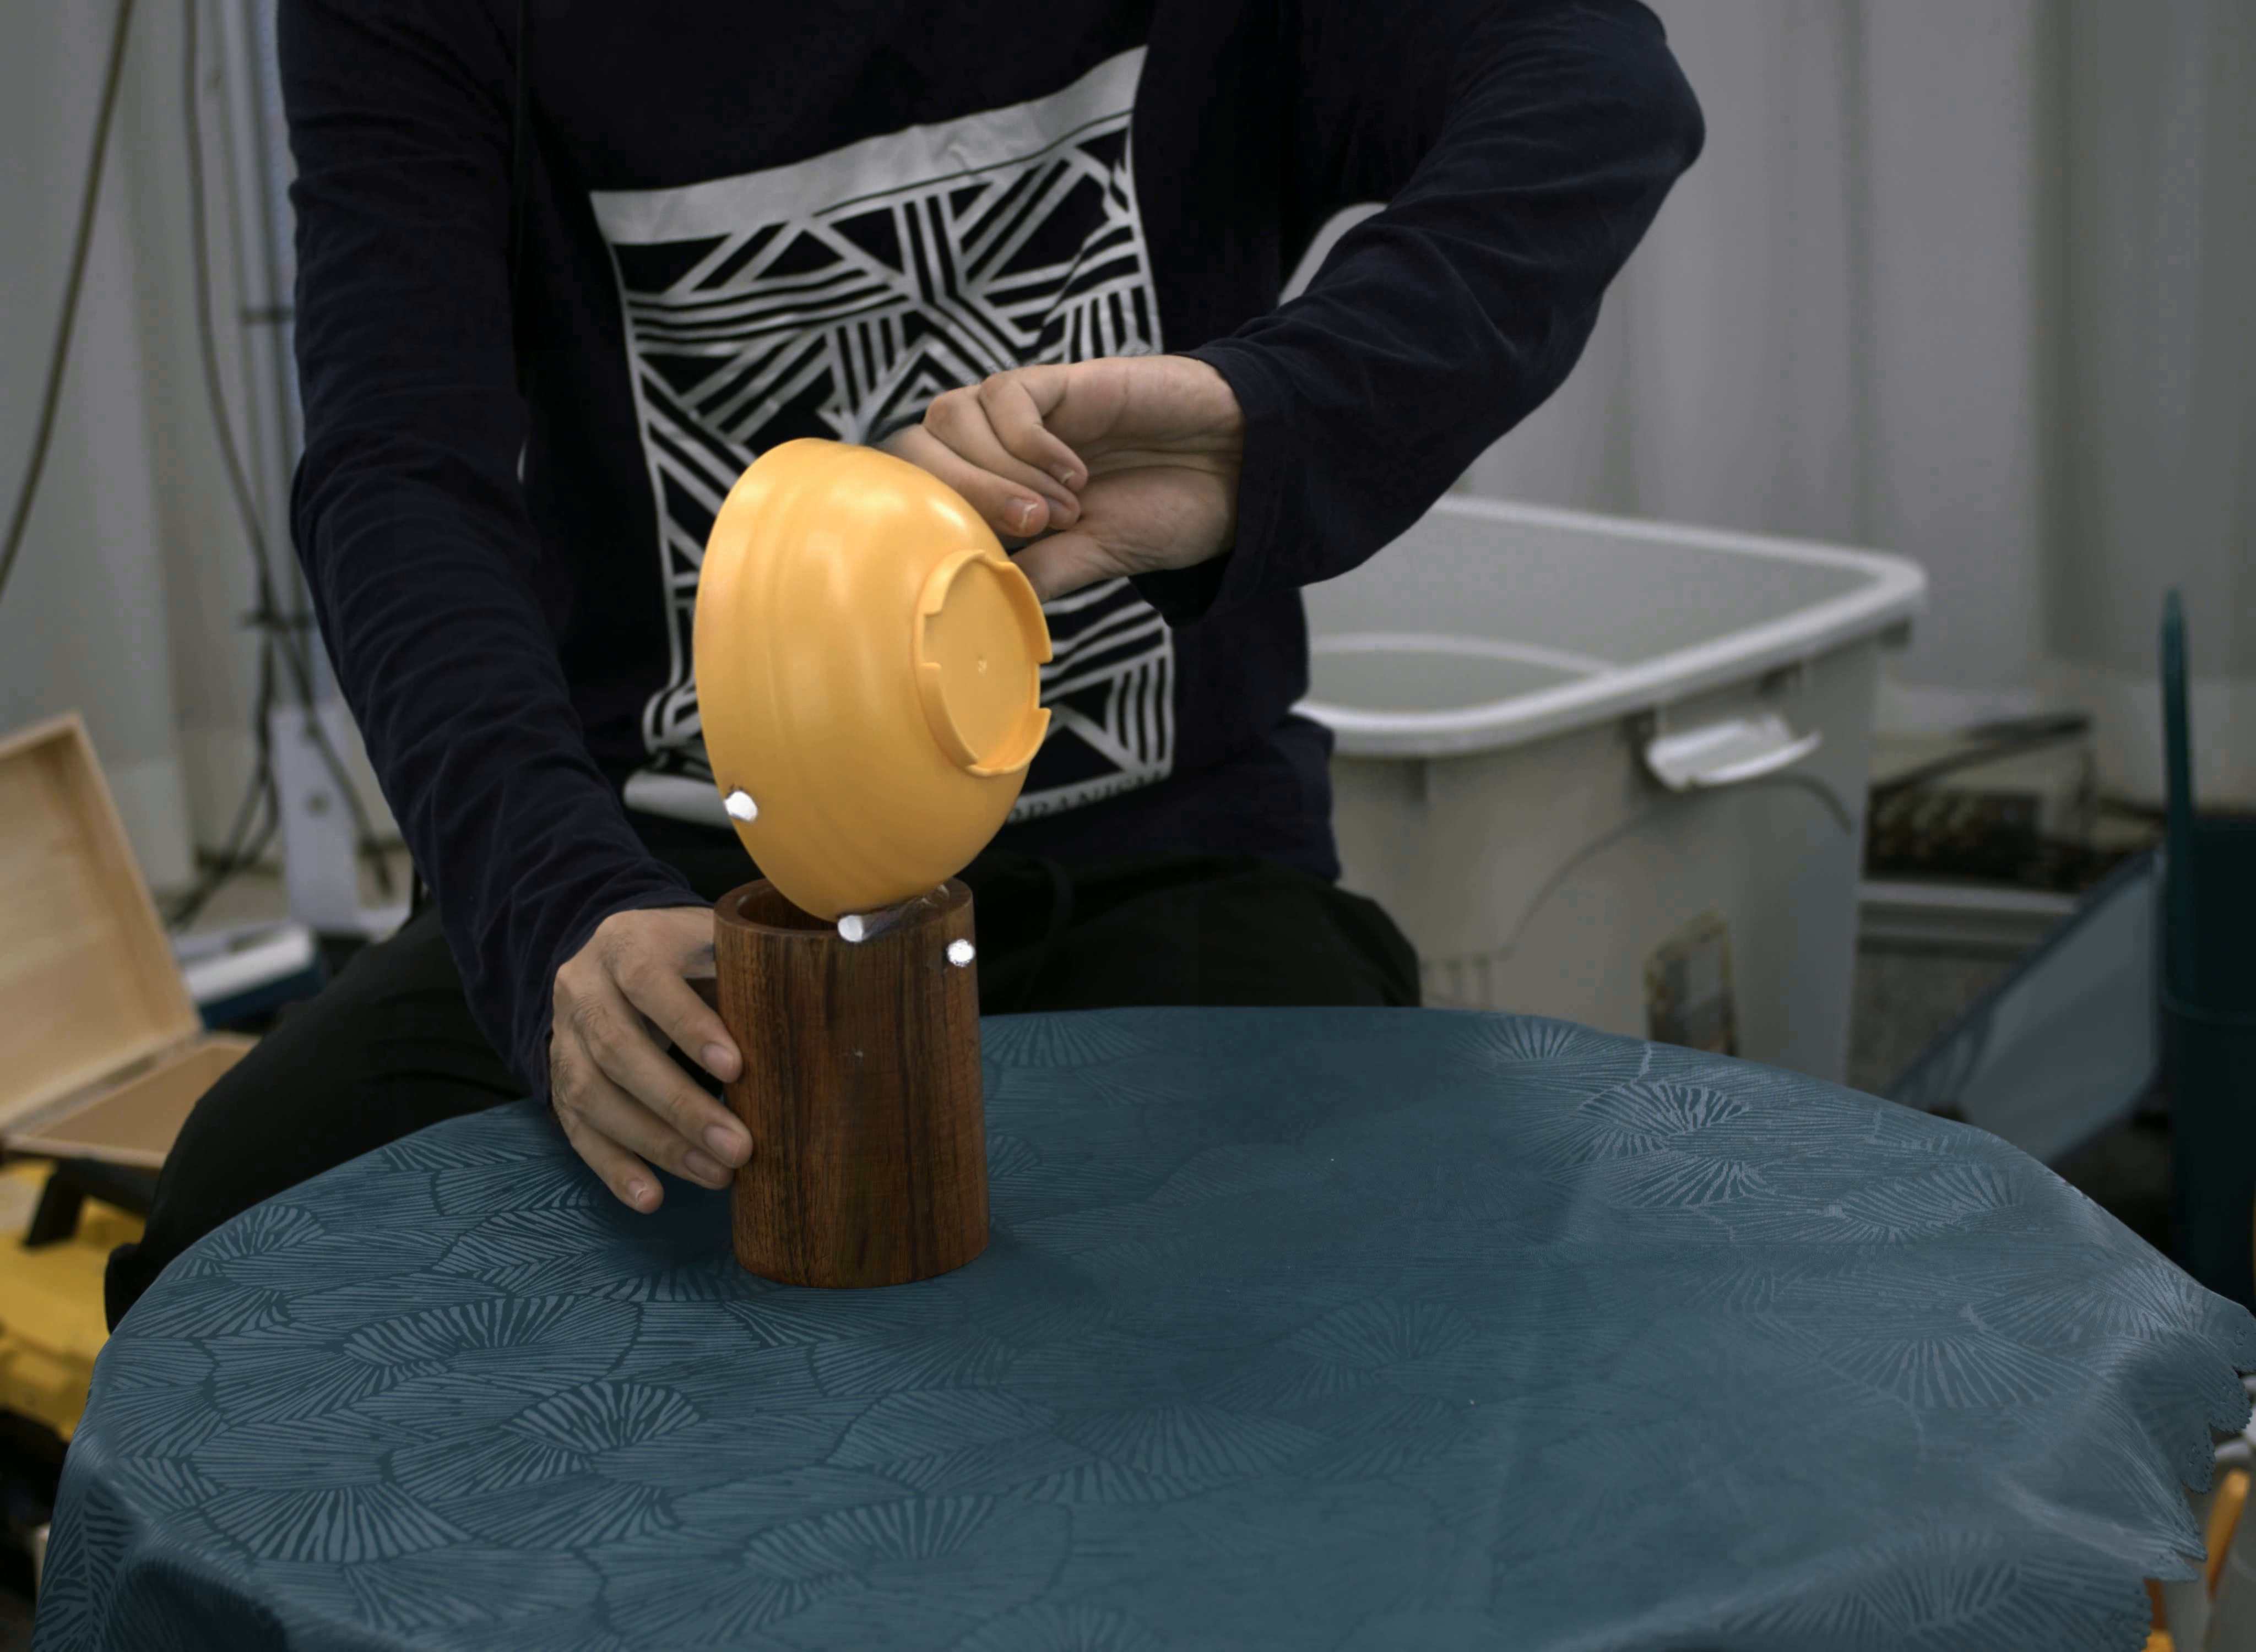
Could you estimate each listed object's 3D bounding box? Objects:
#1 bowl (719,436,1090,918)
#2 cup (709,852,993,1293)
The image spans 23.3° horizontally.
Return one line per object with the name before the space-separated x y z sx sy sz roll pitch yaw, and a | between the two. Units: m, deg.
bowl | -0.053 -0.049 1.615 0.060 0.145 0.145 -11 7 35
cup | -0.084 0.073 1.660 0.087 0.118 0.088 1 14 0
